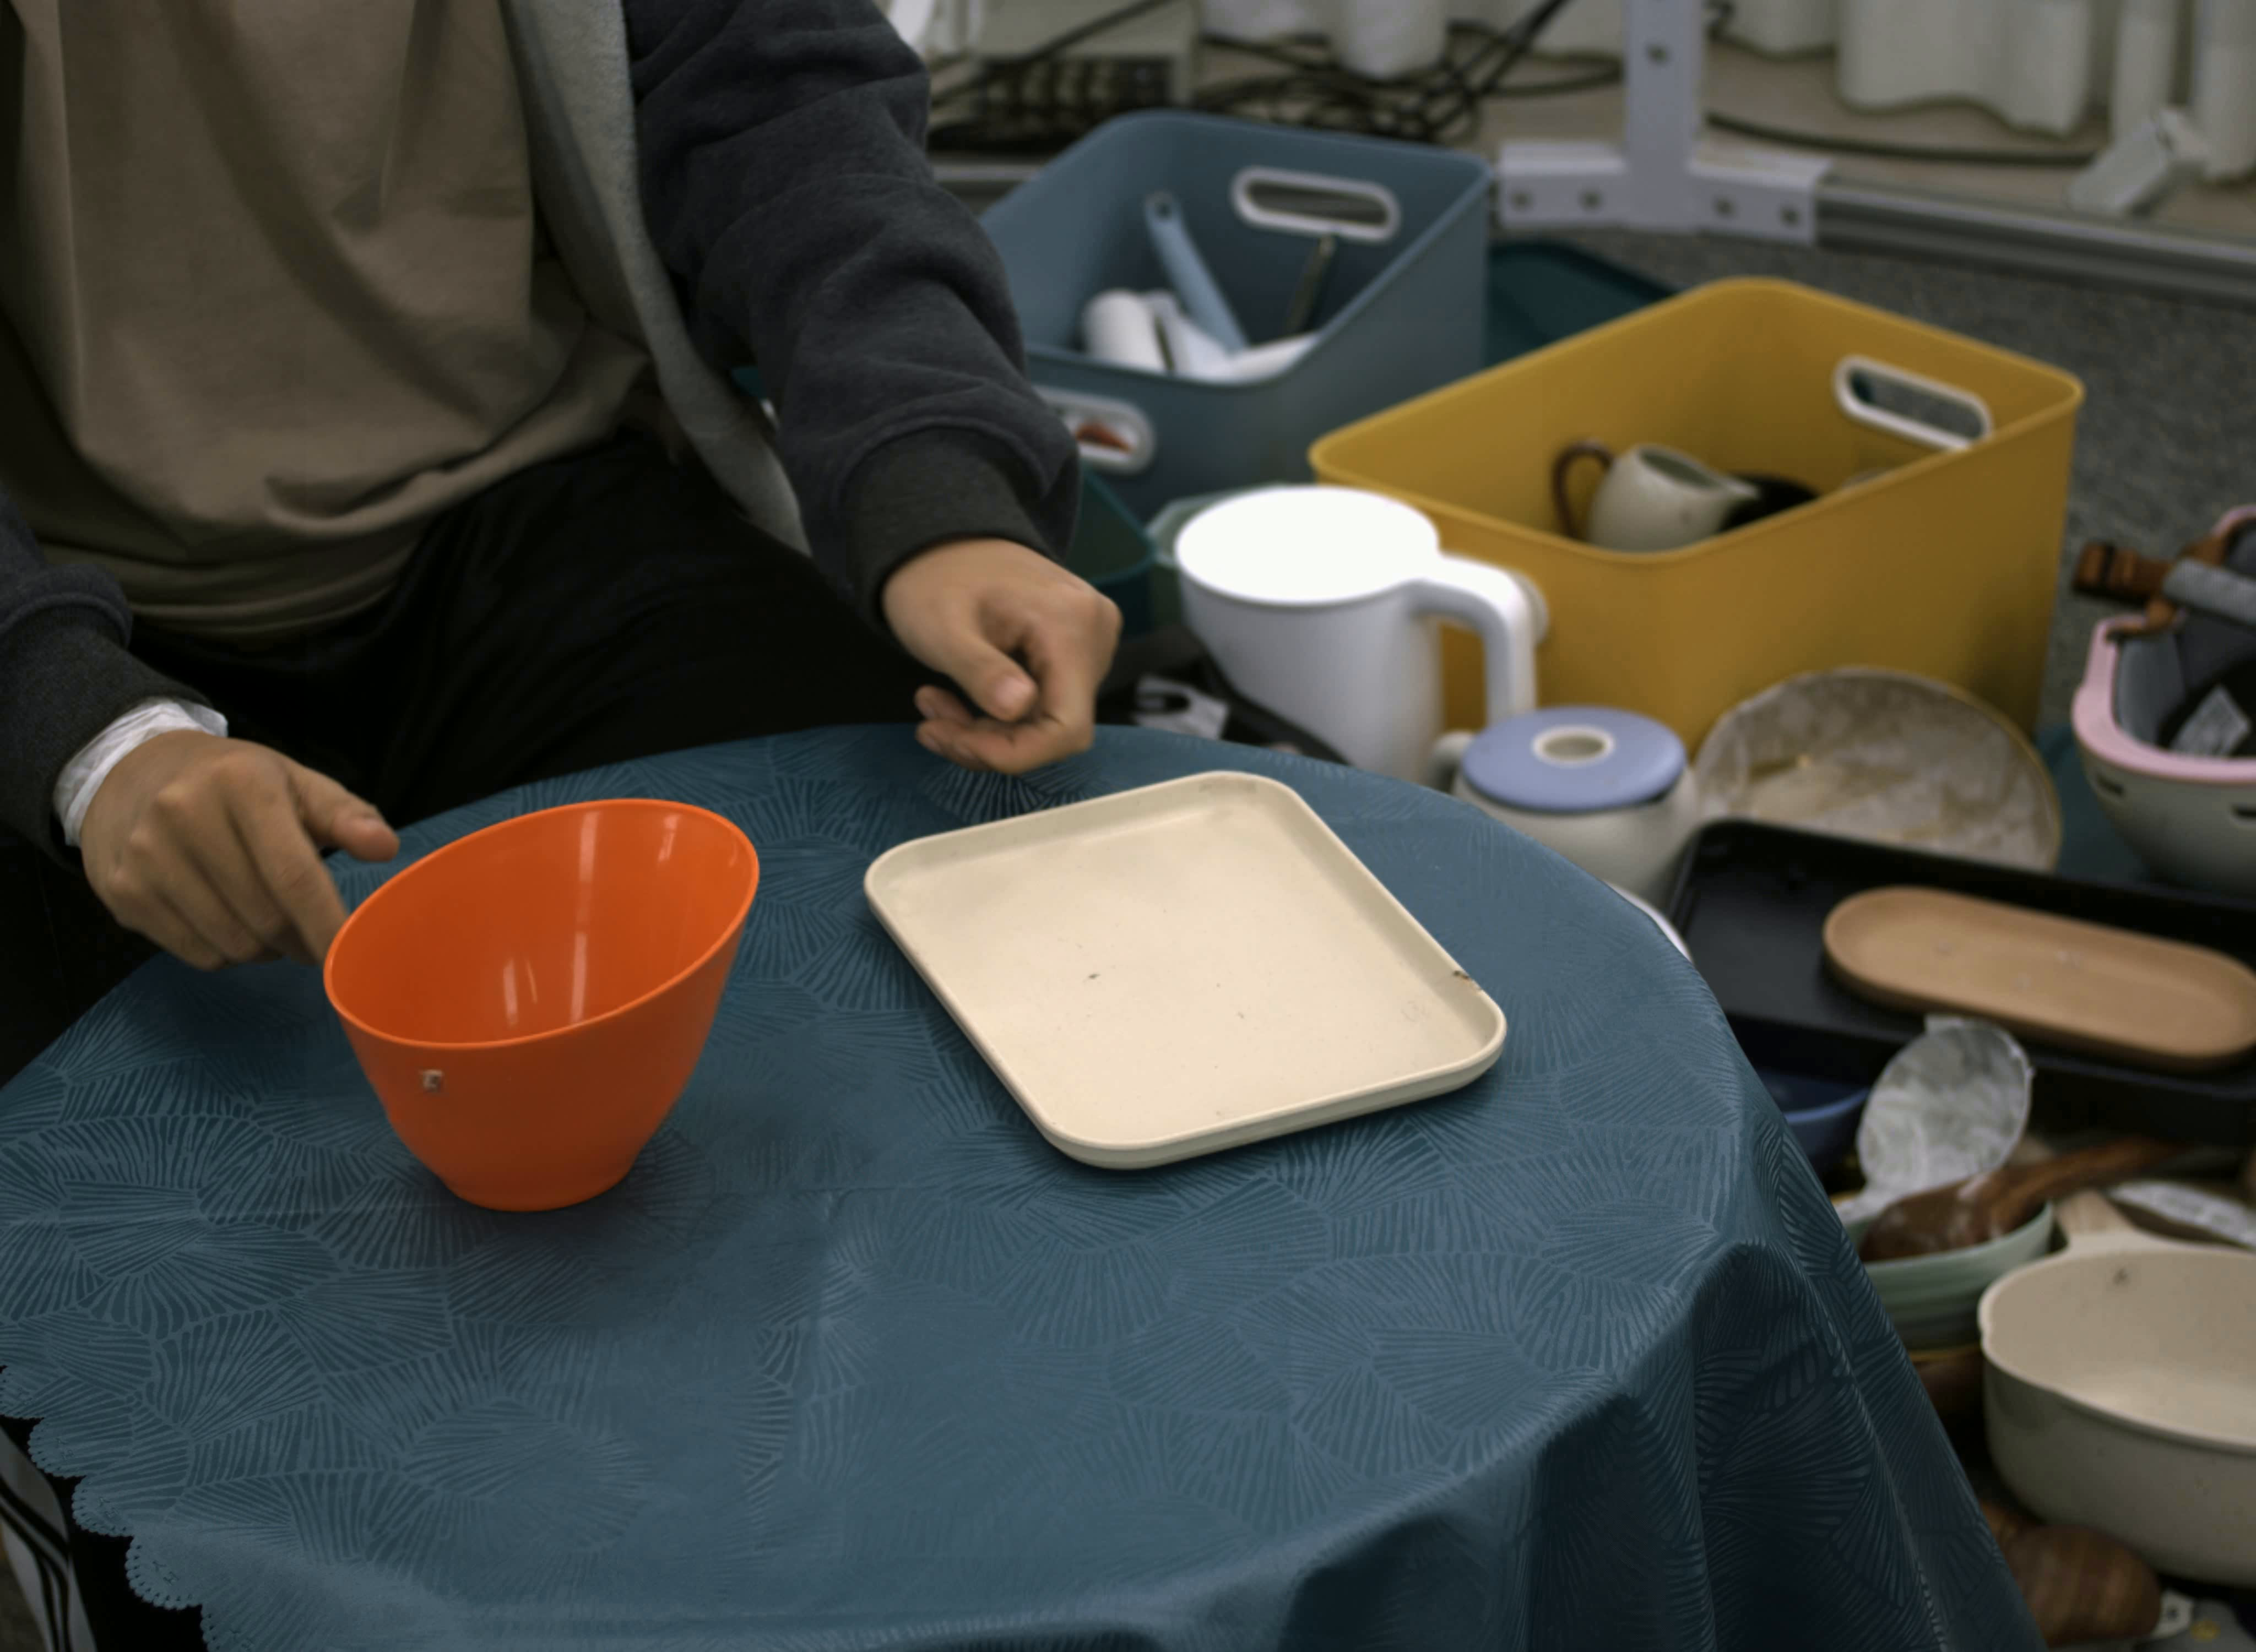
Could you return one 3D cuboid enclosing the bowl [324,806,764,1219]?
[{"bbox_3d":[-0.191,0.069,1.876,0.147,0.103,0.150,-2,27,1],"label":"bowl"}]

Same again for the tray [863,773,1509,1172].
[{"bbox_3d":[0.017,0.050,1.979,0.172,0.017,0.241,-13,29,-18],"label":"tray"}]
